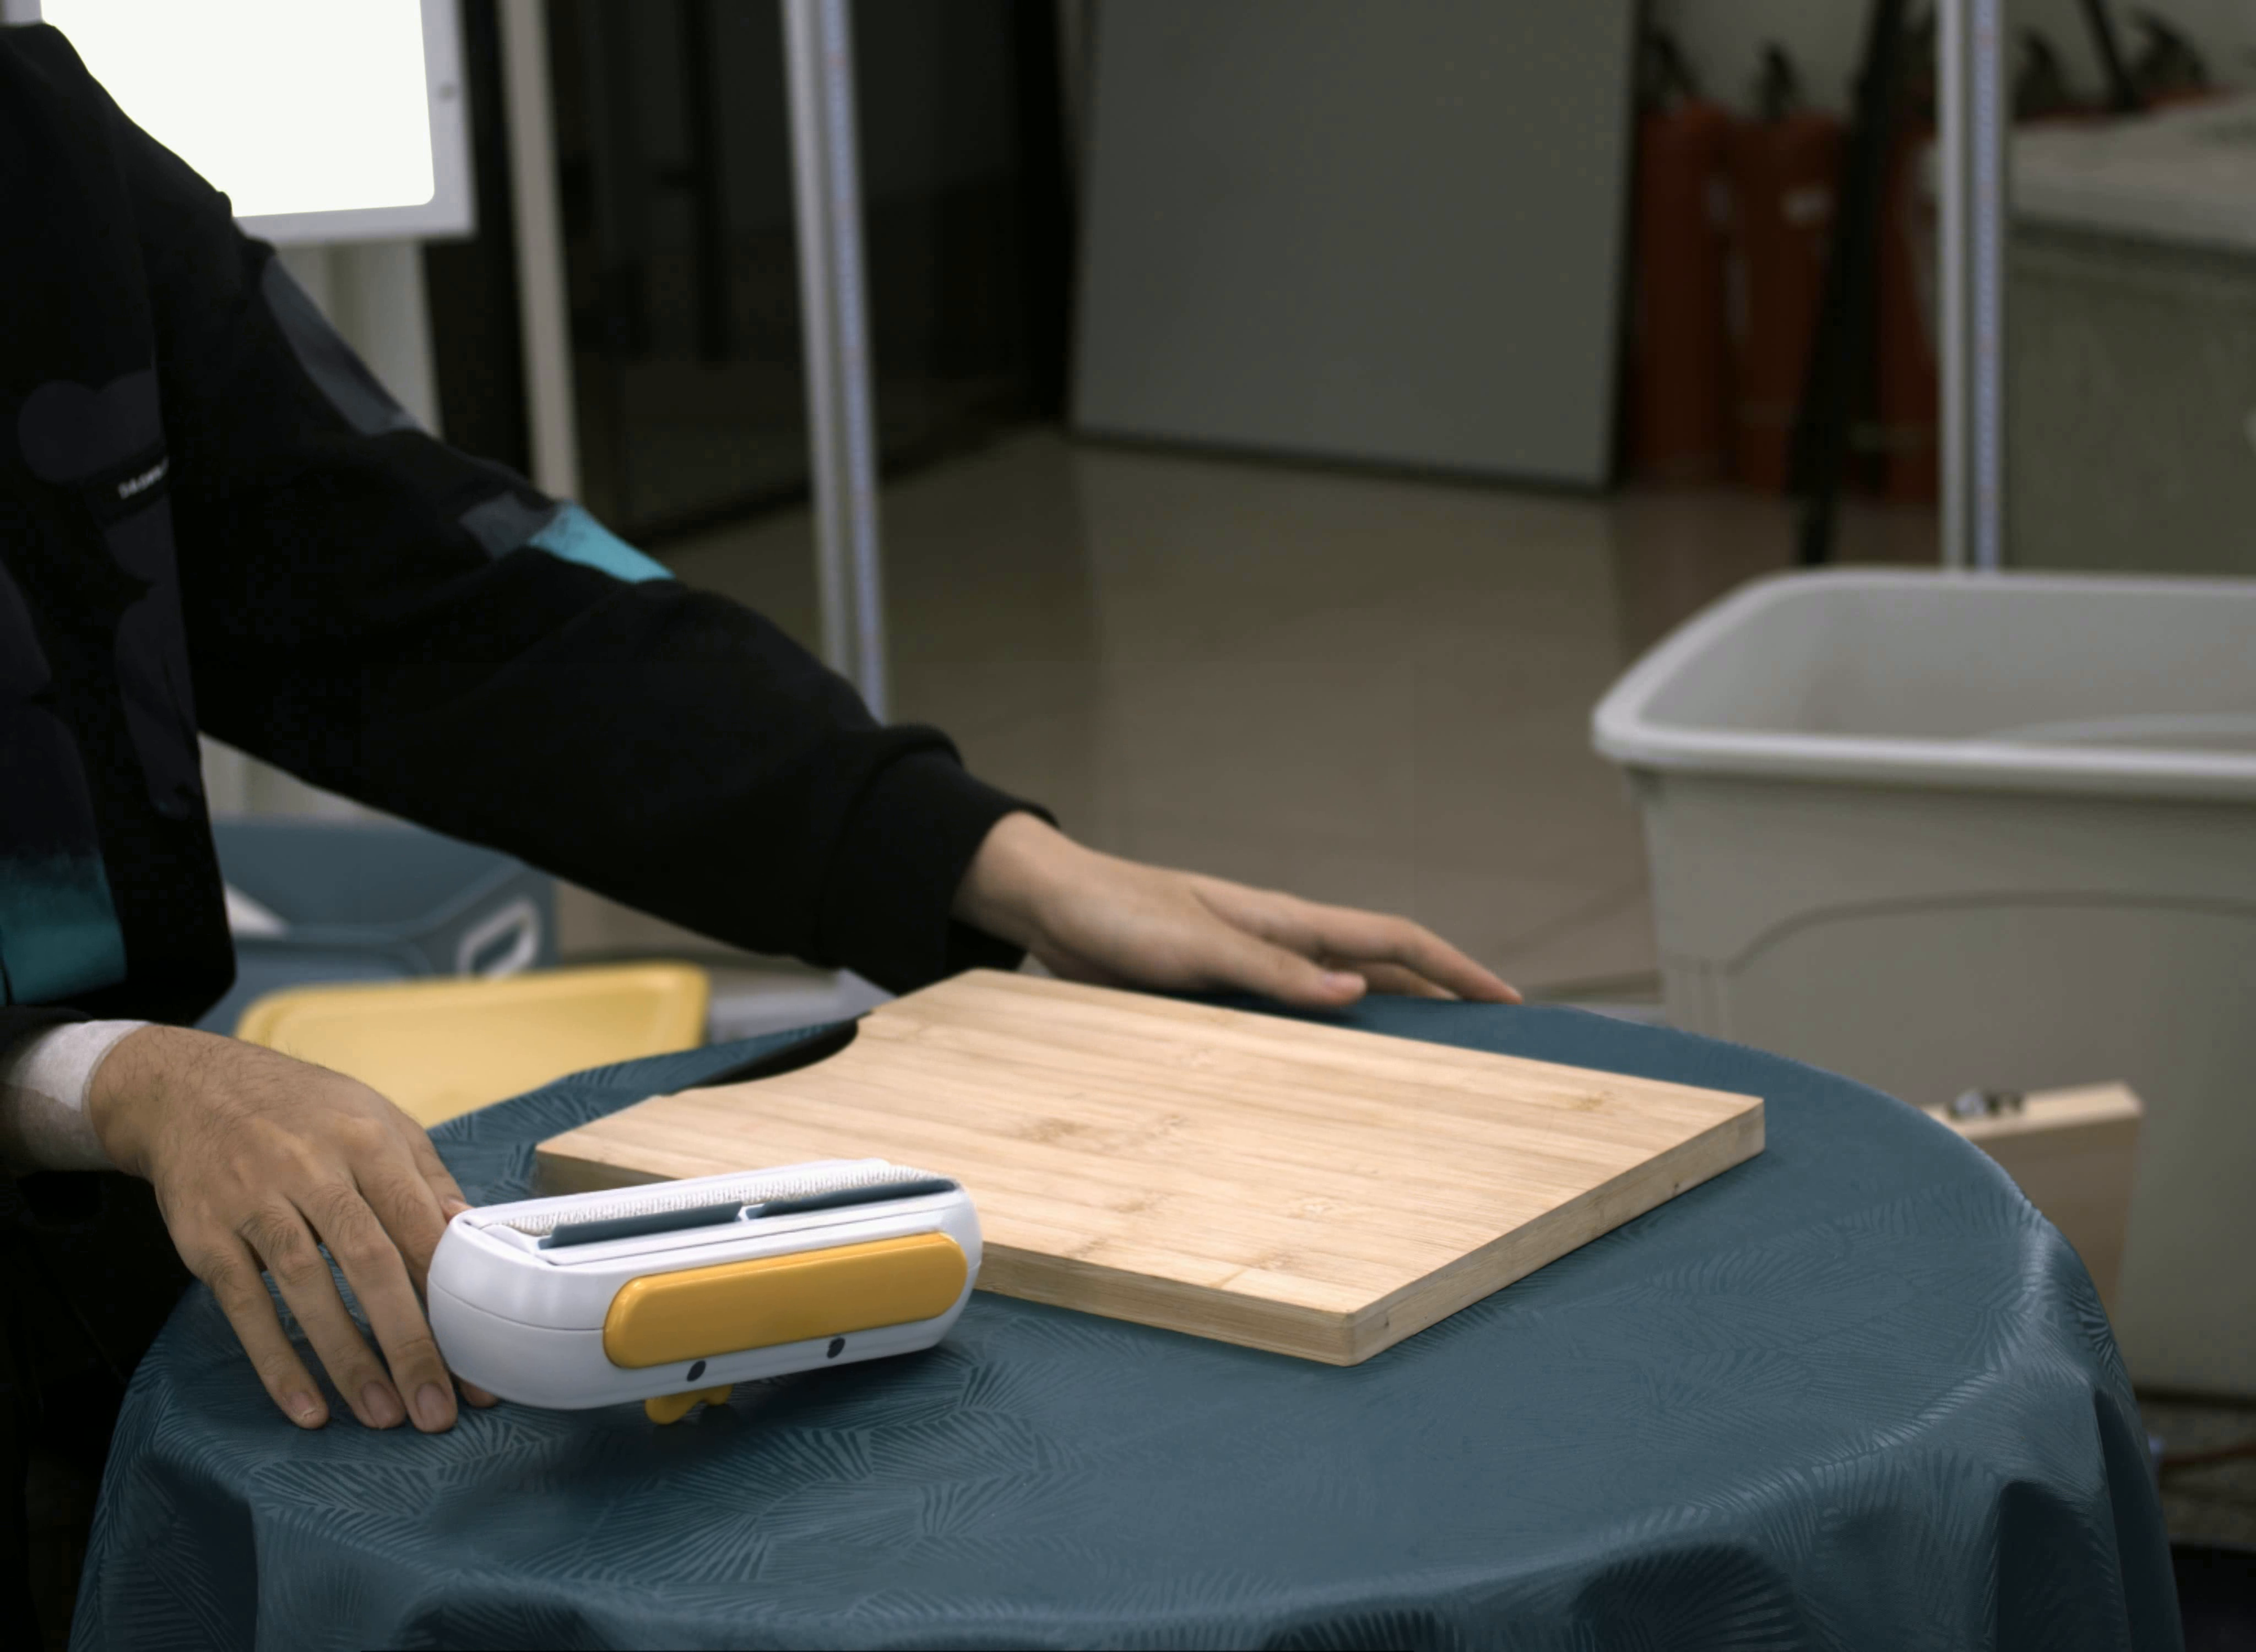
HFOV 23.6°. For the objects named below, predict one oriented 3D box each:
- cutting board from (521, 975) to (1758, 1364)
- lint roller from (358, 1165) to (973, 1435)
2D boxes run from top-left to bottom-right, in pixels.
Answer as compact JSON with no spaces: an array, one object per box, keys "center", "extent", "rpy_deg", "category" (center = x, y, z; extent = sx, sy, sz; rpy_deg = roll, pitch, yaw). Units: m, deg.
[{"center":[0.002,0.108,1.790],"extent":[0.351,0.024,0.246],"rpy_deg":[7,18,38],"category":"cutting board"},{"center":[-0.166,0.135,1.625],"extent":[0.188,0.075,0.194],"rpy_deg":[-9,12,-42],"category":"lint roller"}]
